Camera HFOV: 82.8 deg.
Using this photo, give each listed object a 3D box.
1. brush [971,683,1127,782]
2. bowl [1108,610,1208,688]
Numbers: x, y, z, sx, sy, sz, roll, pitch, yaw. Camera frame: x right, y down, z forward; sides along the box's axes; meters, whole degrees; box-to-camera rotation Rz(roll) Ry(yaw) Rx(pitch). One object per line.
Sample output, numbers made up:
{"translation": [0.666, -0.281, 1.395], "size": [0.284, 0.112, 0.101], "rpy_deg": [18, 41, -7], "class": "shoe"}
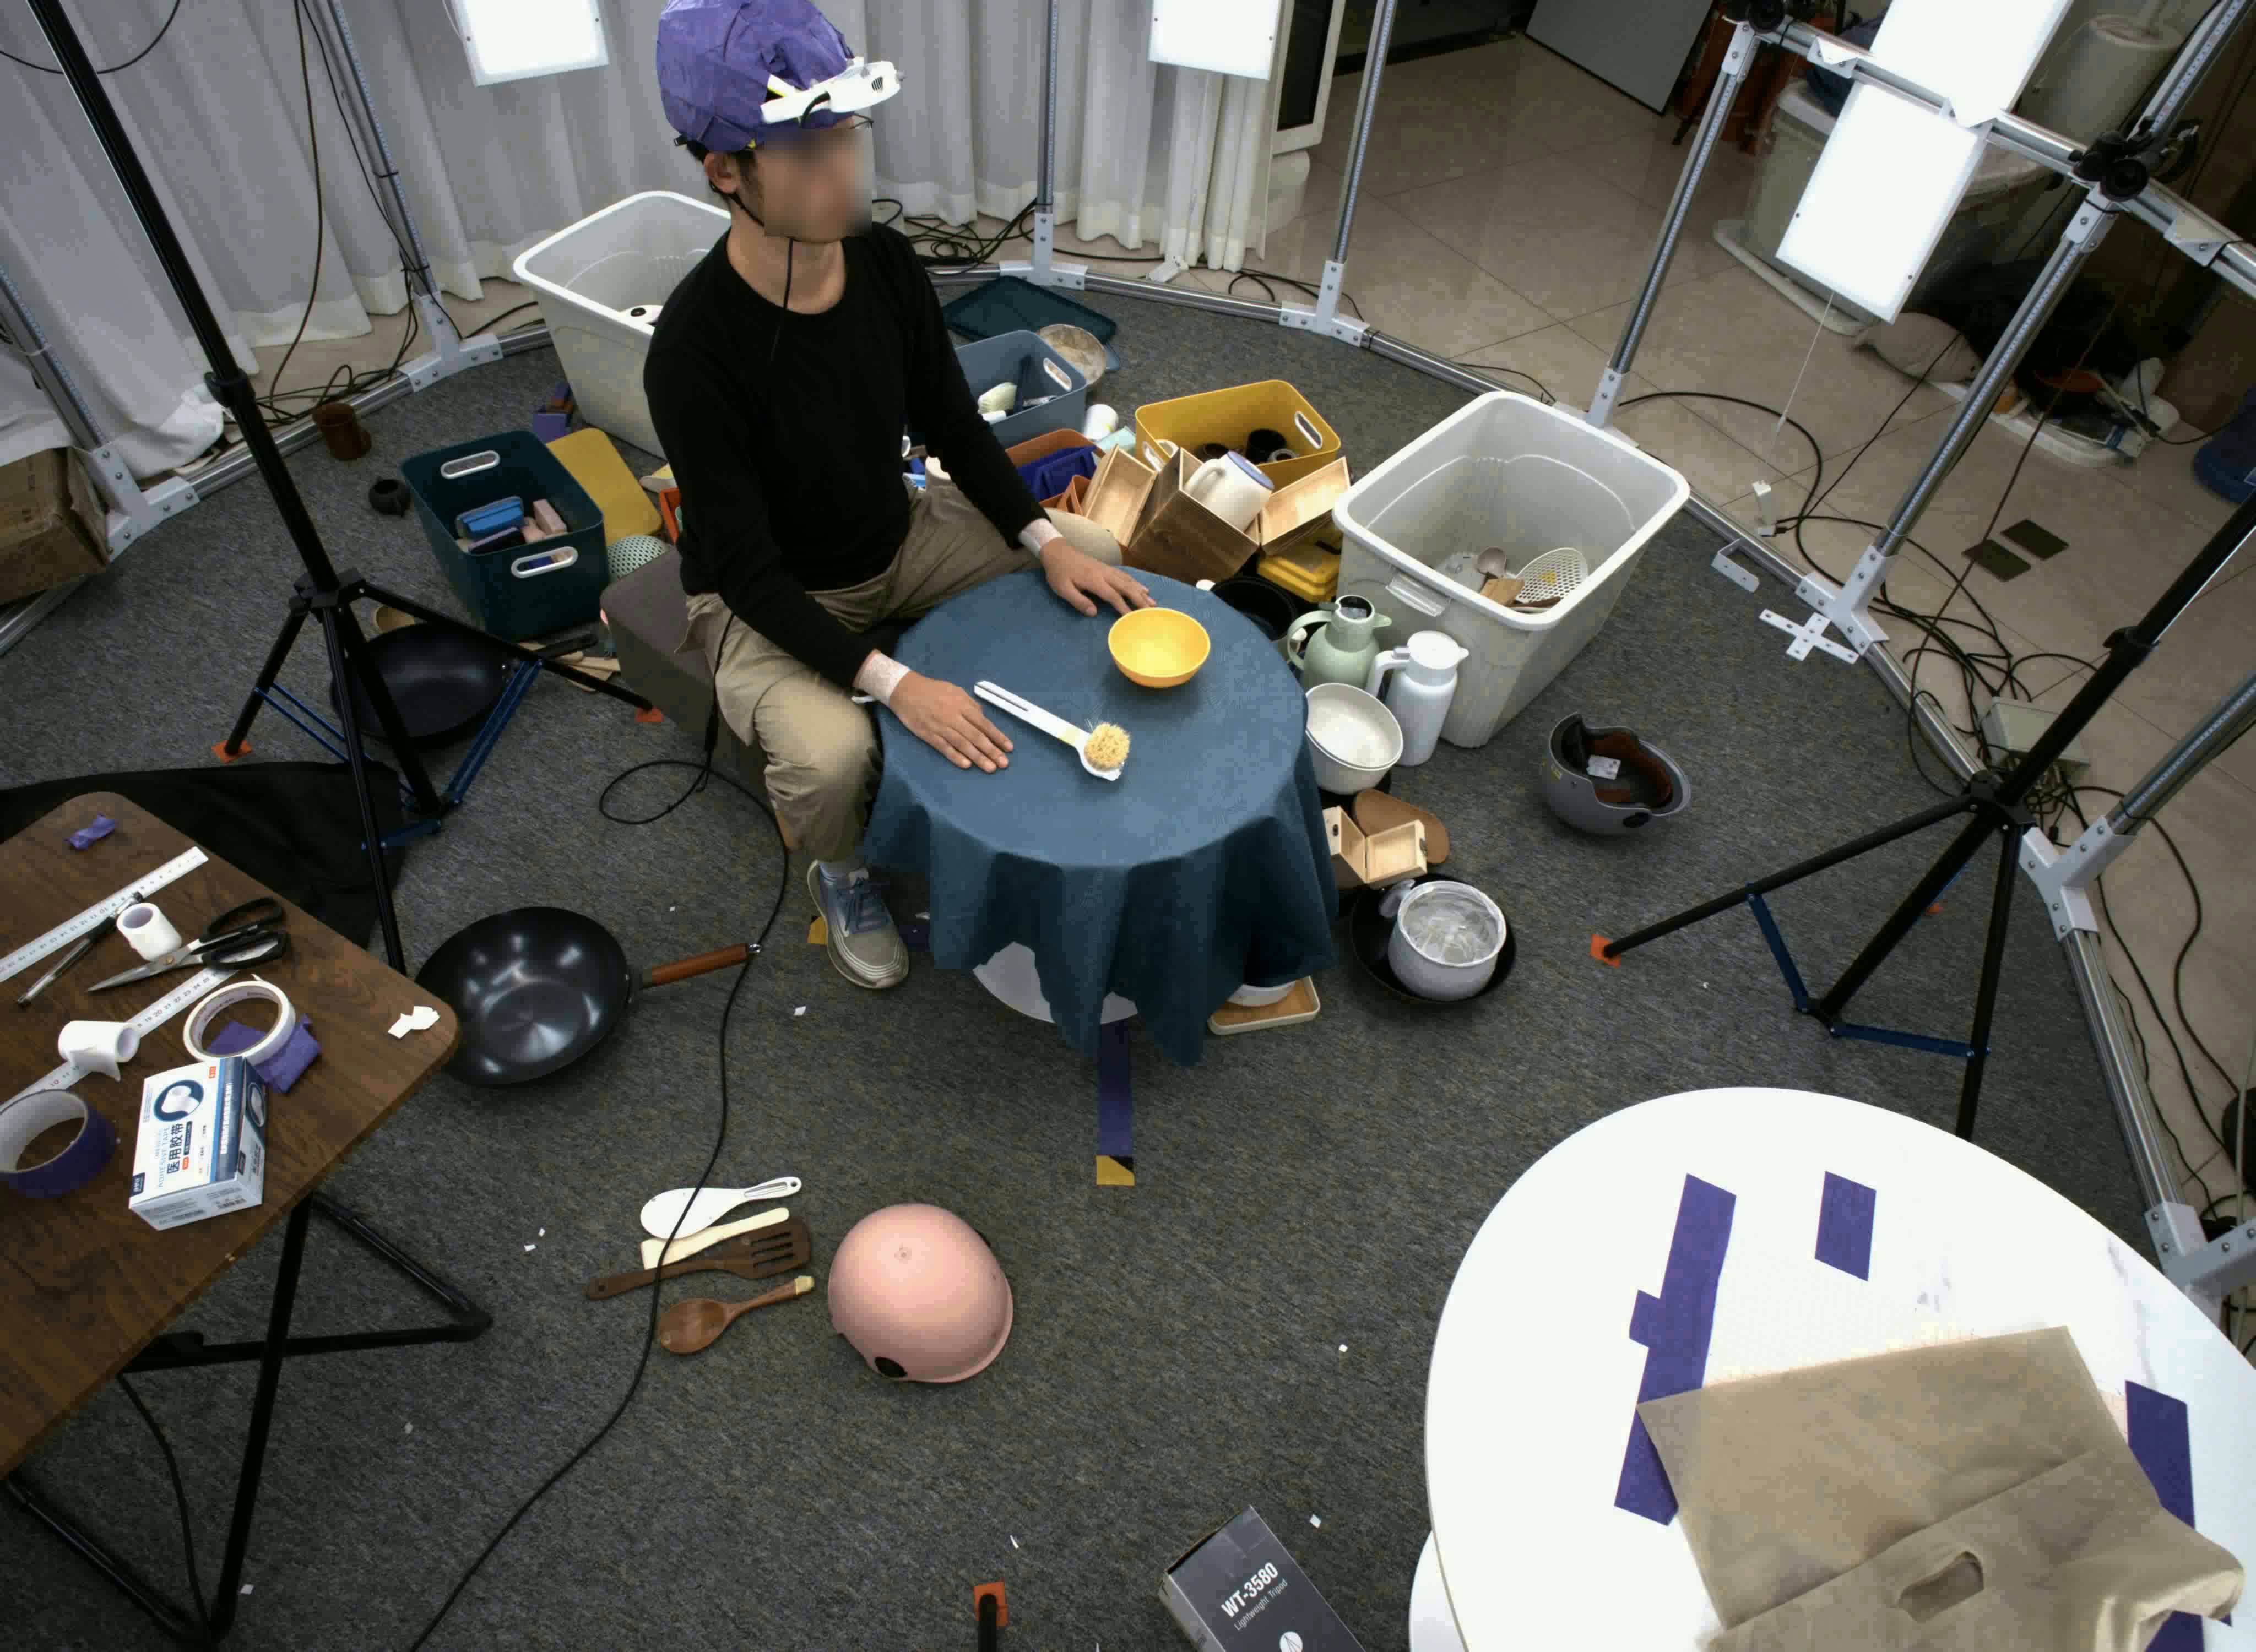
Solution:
{"translation": [-0.114, -0.147, 1.755], "size": [0.270, 0.055, 0.069], "rpy_deg": [33, 50, 24], "class": "brush"}
{"translation": [0.041, -0.244, 1.846], "size": [0.145, 0.058, 0.149], "rpy_deg": [2, 48, -2], "class": "bowl"}
